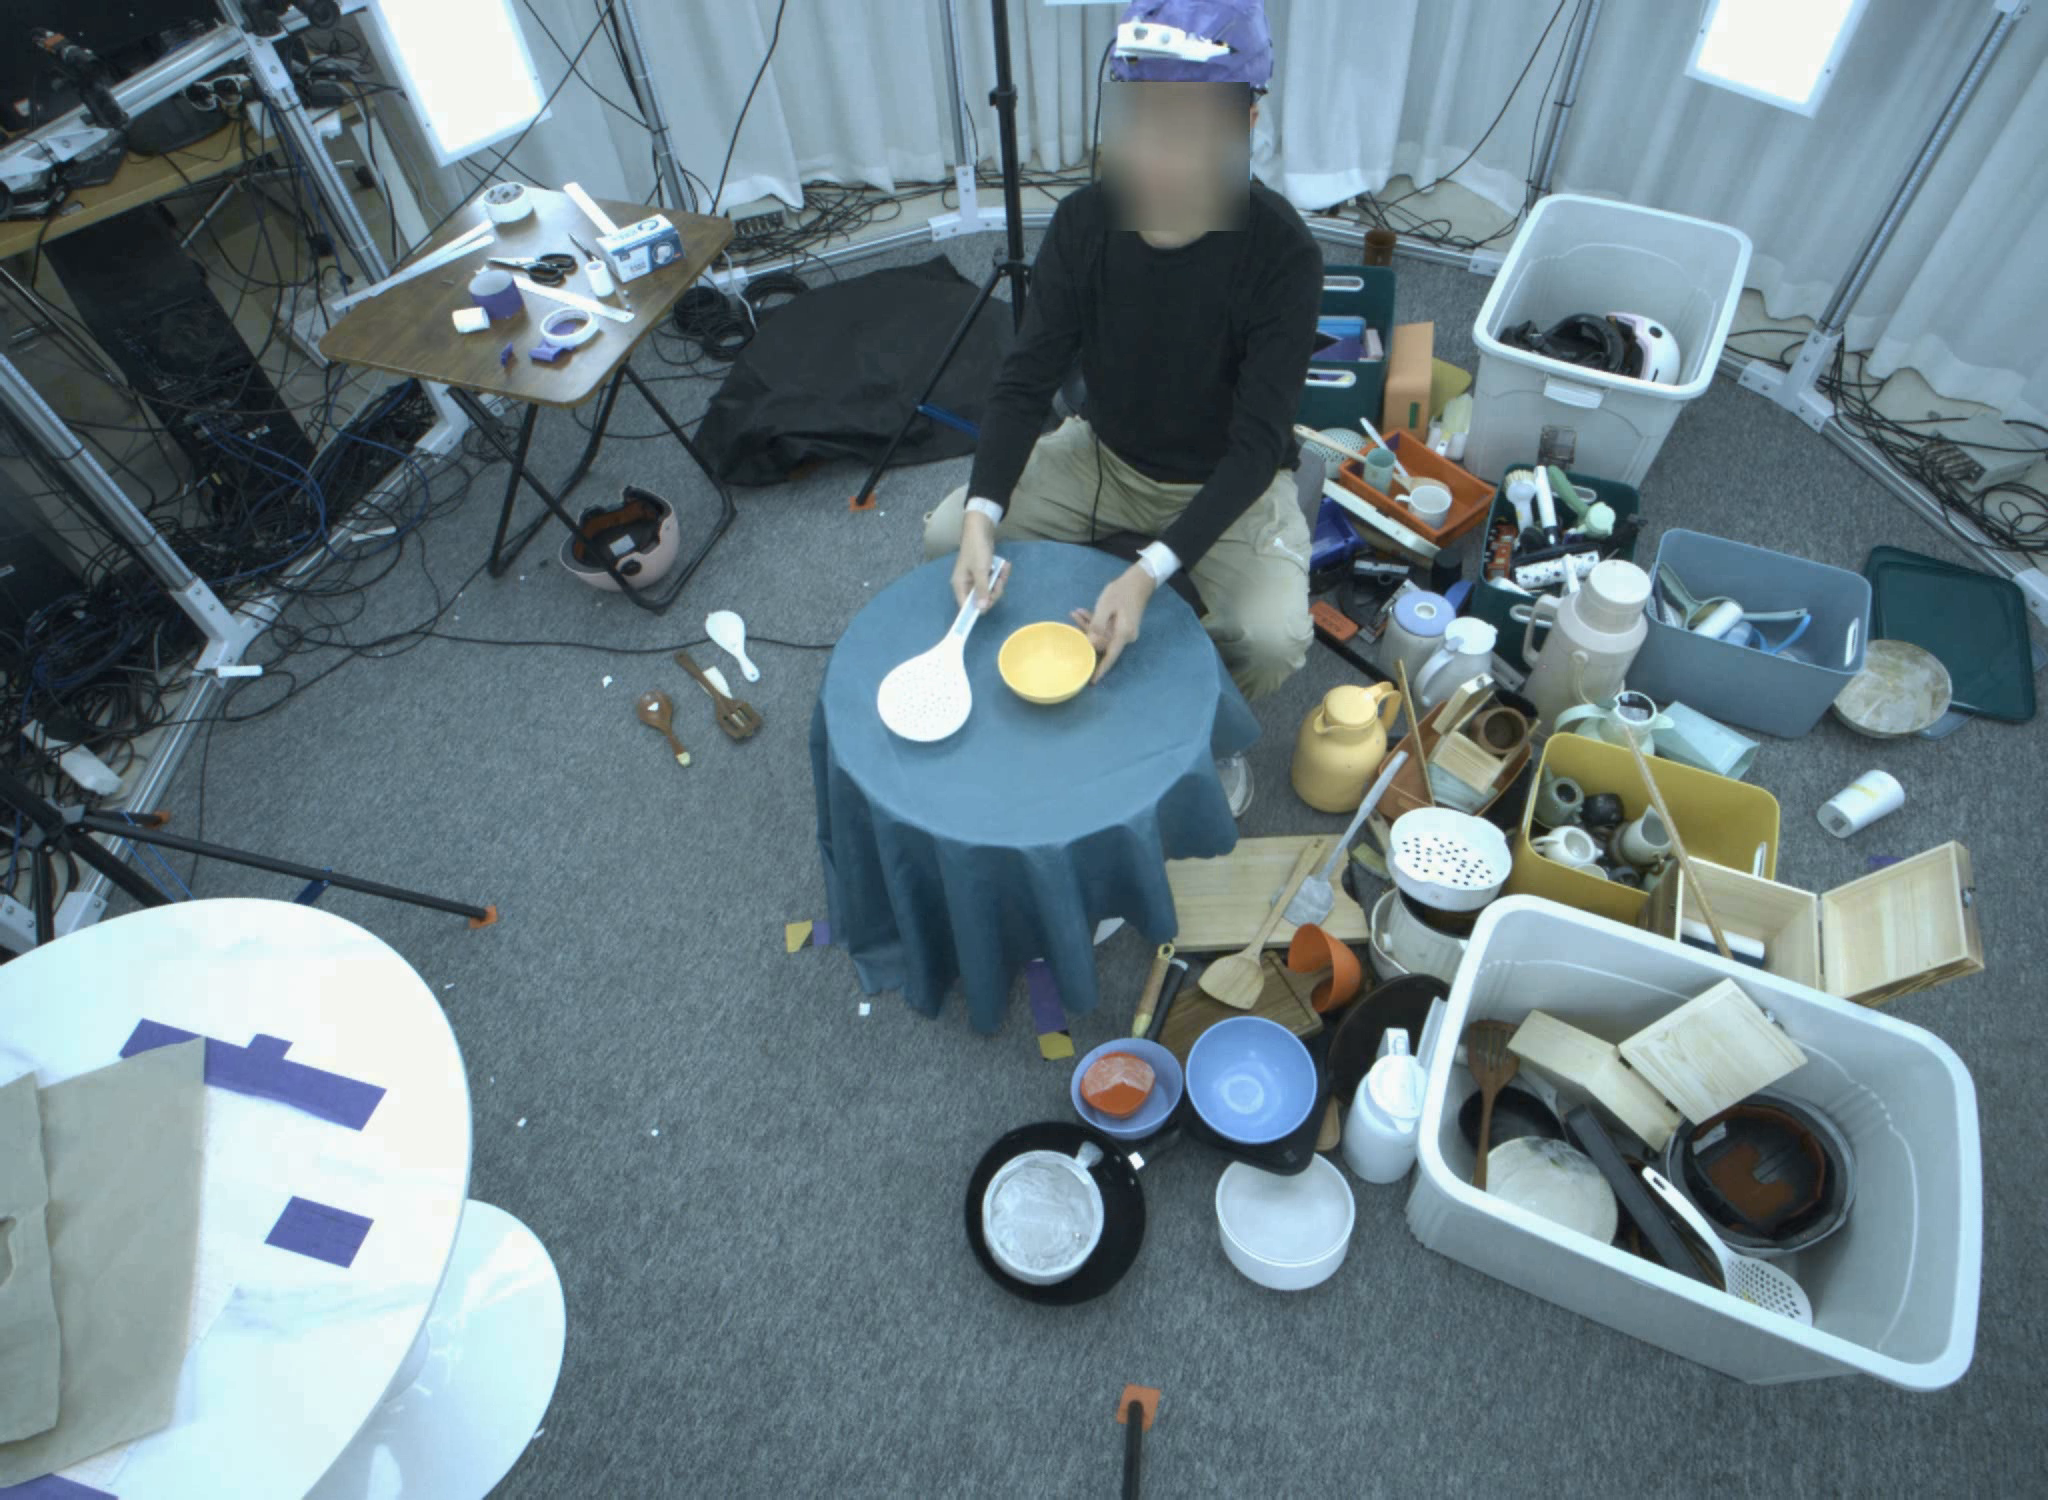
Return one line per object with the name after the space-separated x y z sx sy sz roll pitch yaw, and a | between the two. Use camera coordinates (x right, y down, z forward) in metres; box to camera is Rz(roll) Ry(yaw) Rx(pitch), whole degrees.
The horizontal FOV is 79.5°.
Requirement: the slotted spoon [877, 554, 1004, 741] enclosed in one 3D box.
-0.108 -0.159 1.847 0.135 0.046 0.349 21 69 5 | slotted spoon

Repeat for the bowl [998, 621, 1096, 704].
0.035 -0.119 1.836 0.145 0.061 0.144 0 57 1 | bowl
